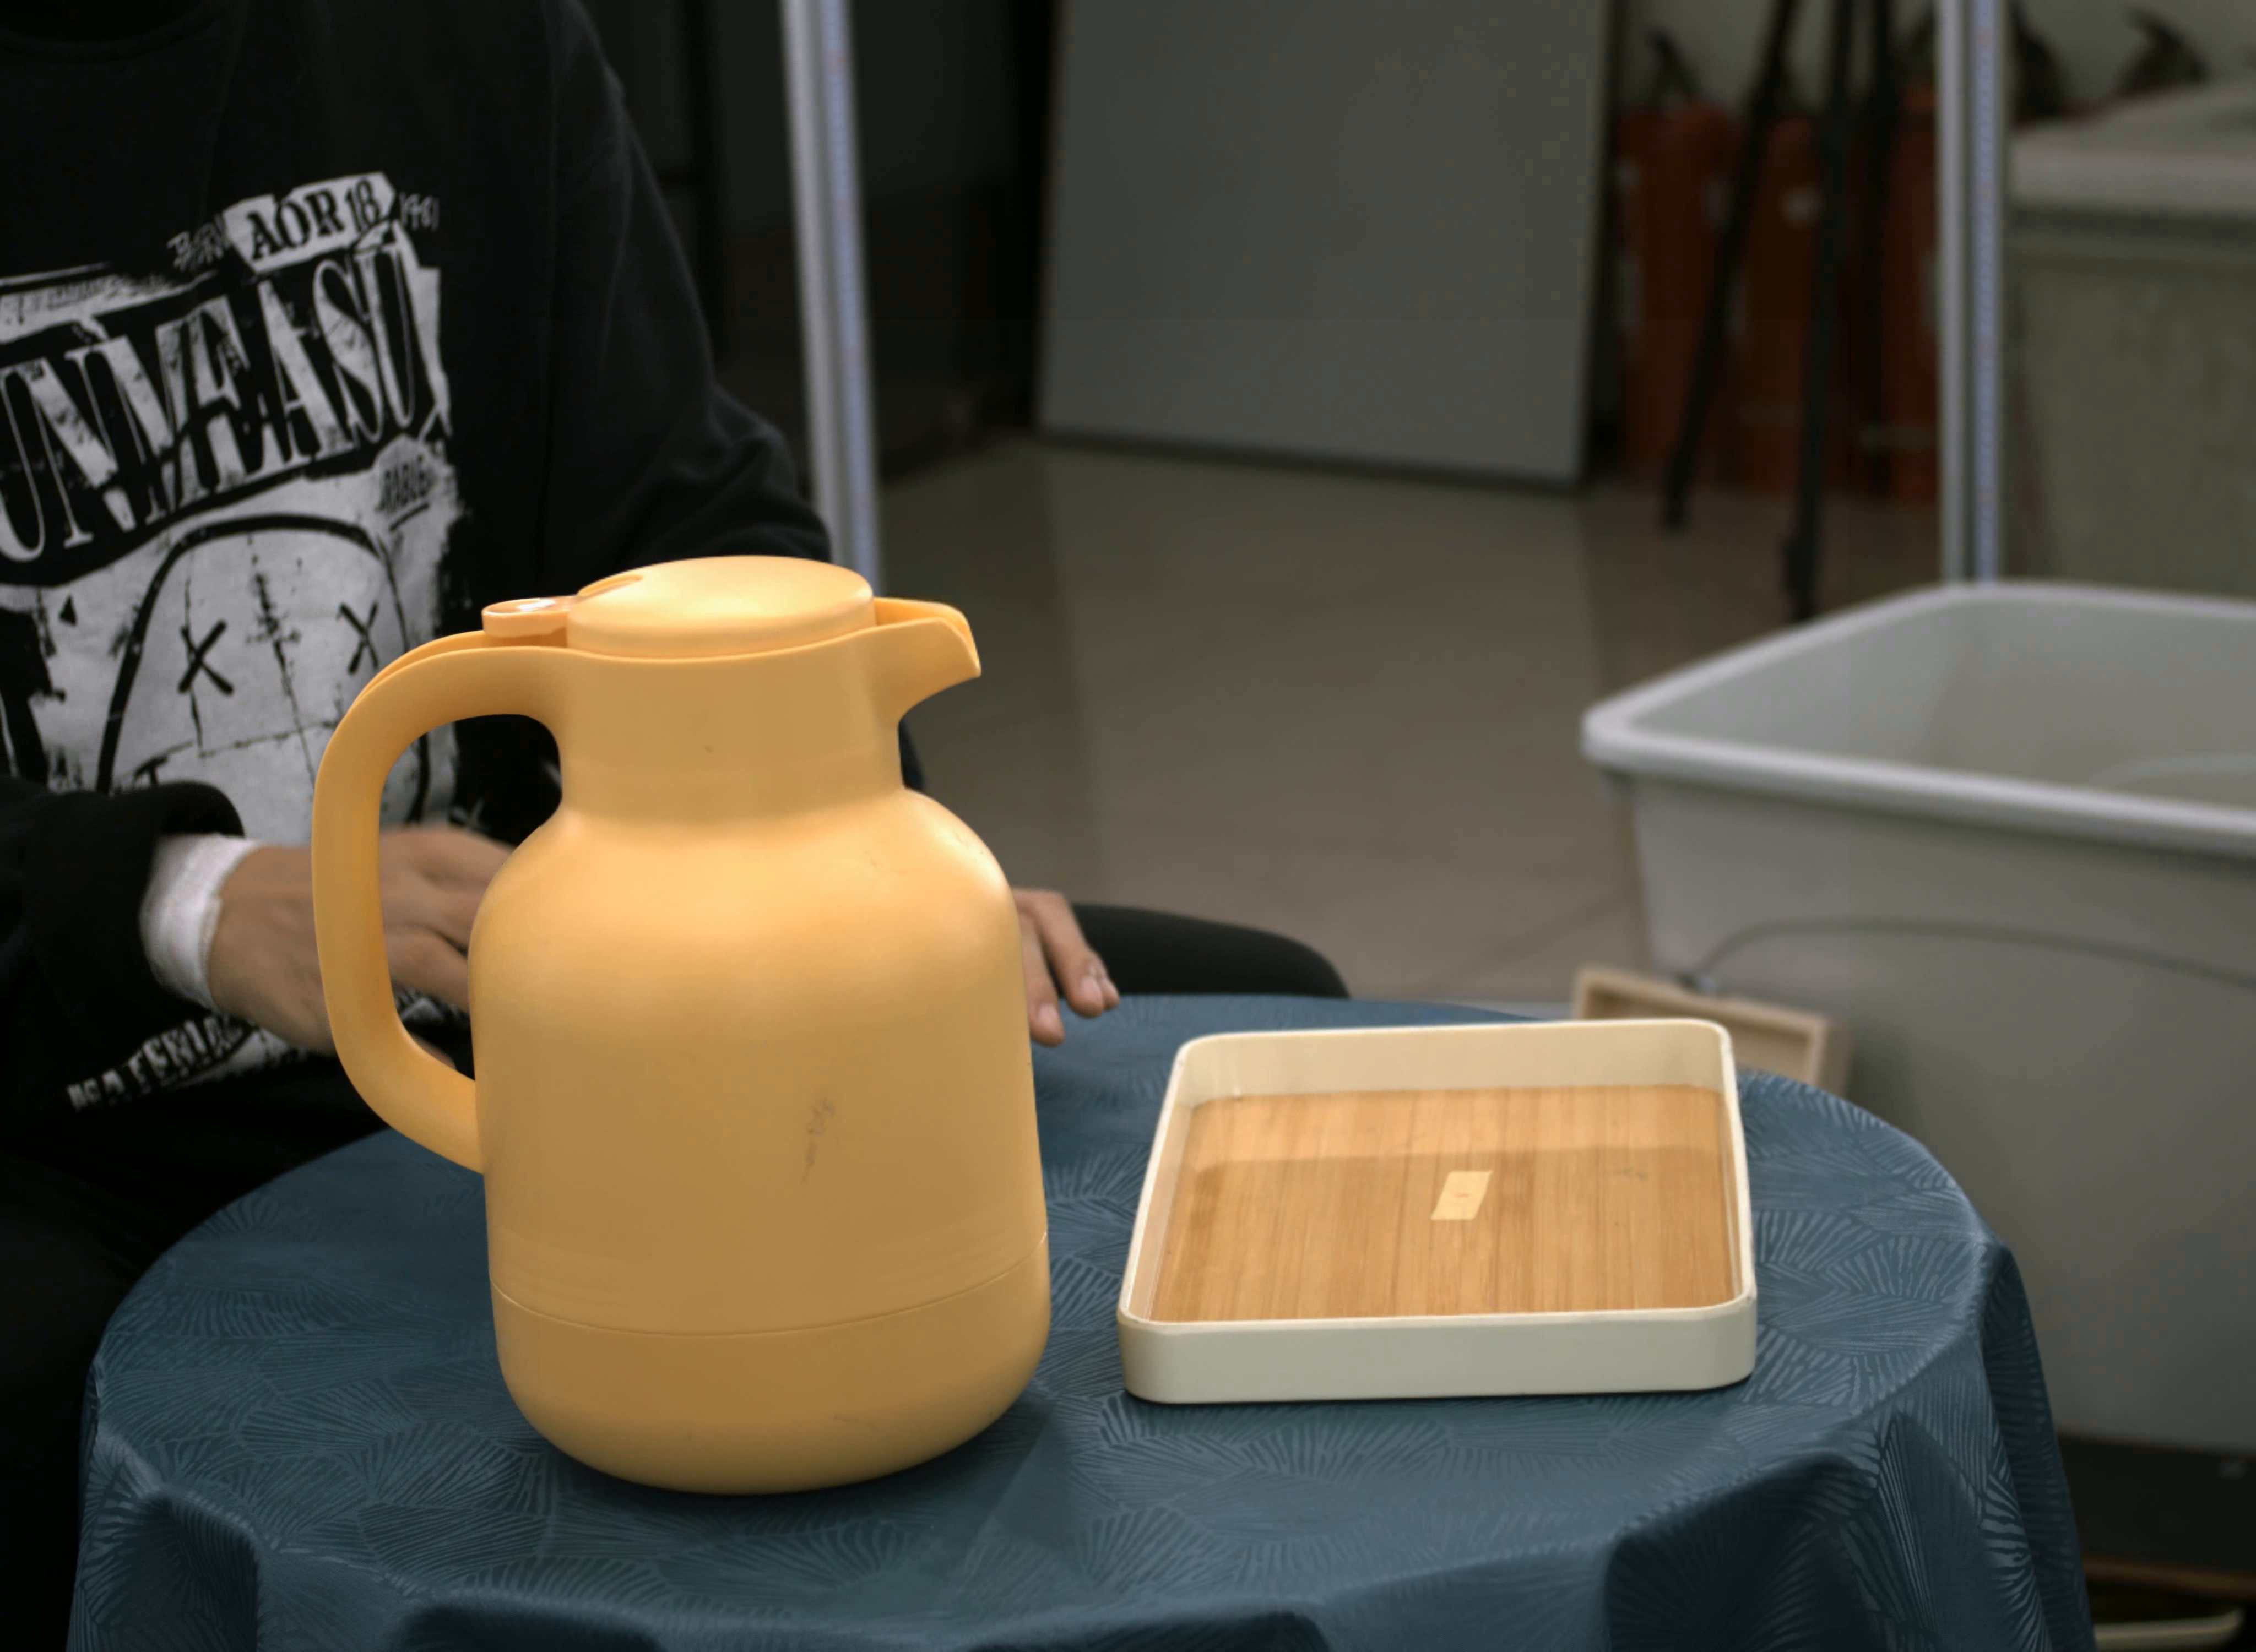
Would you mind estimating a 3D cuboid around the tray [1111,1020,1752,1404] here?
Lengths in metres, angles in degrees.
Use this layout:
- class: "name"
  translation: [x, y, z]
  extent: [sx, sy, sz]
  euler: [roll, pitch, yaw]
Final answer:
- class: "tray"
  translation: [0.100, 0.118, 1.702]
  extent: [0.190, 0.028, 0.300]
  euler: [-3, 14, 6]

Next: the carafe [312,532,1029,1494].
- class: "carafe"
  translation: [-0.130, 0.049, 1.551]
  extent: [0.200, 0.263, 0.163]
  euler: [-1, 11, 5]
